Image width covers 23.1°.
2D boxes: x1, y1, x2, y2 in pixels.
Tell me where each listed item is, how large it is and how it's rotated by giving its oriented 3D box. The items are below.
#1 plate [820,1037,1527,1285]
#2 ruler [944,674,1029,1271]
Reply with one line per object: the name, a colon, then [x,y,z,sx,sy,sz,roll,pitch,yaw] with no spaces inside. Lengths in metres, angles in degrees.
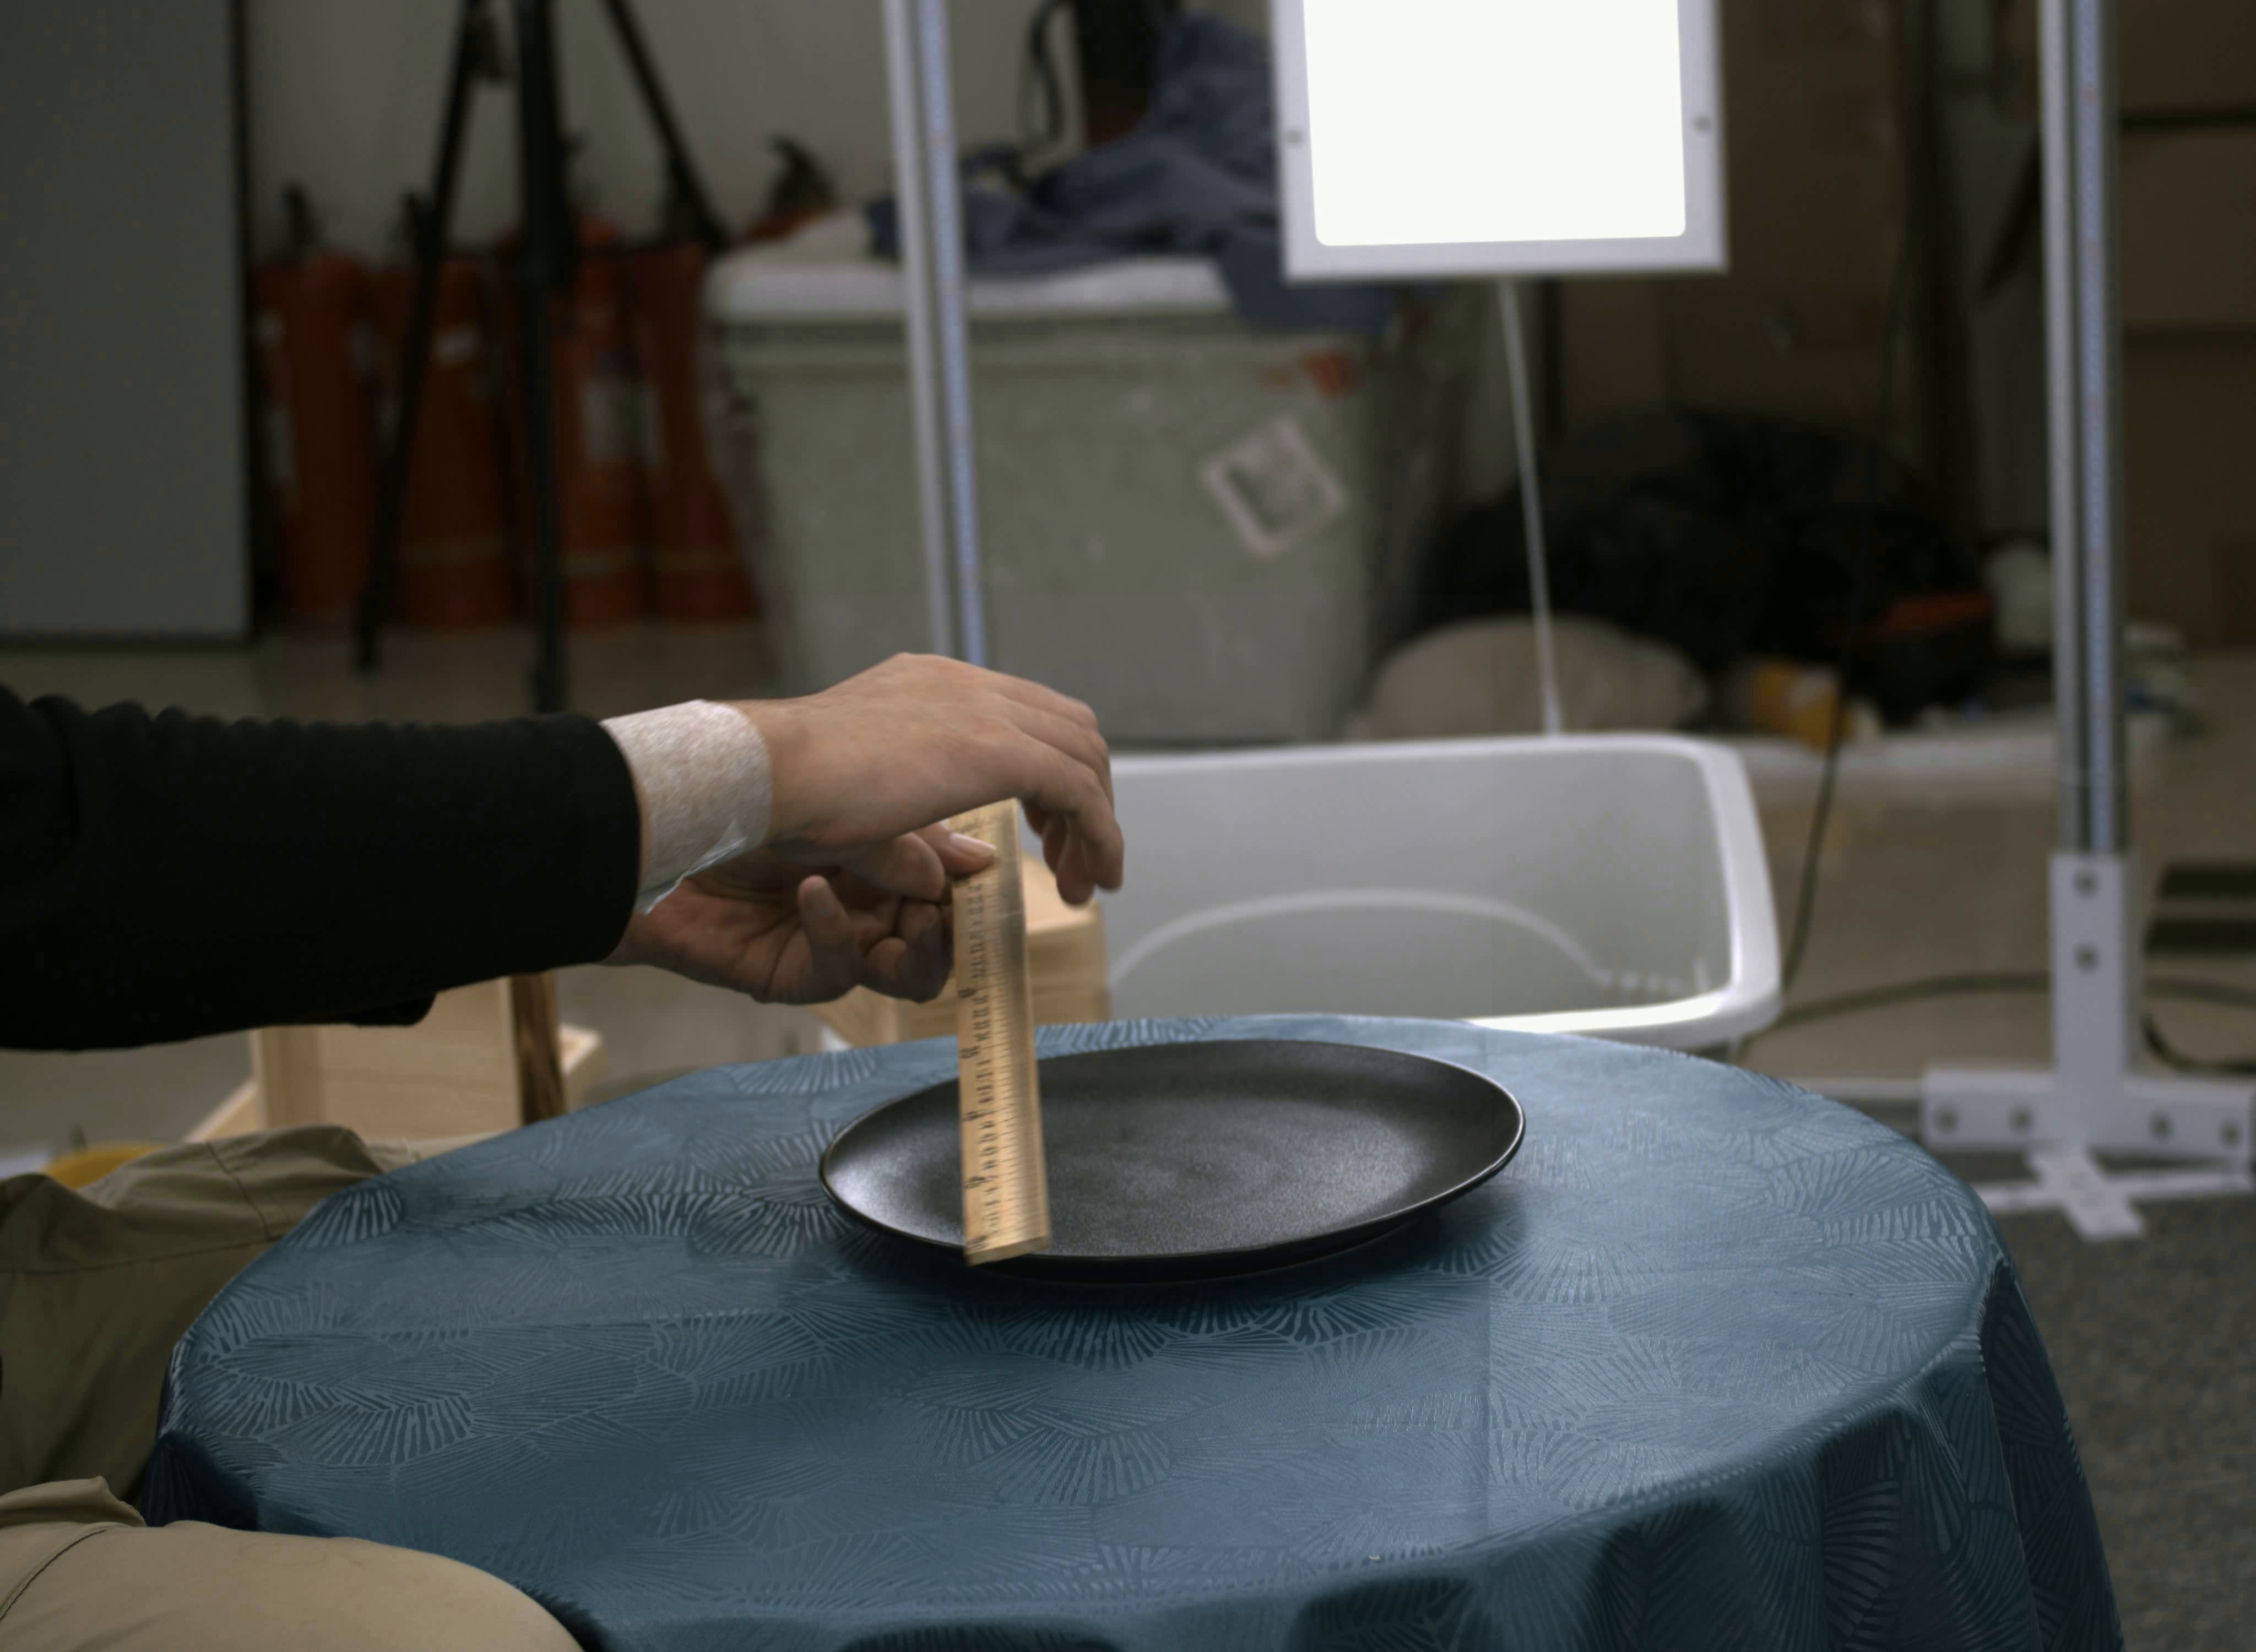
plate: [0.016,0.117,1.882,0.244,0.023,0.244,-5,14,0]
ruler: [-0.049,0.037,1.853,0.027,0.006,0.499,-16,21,5]
